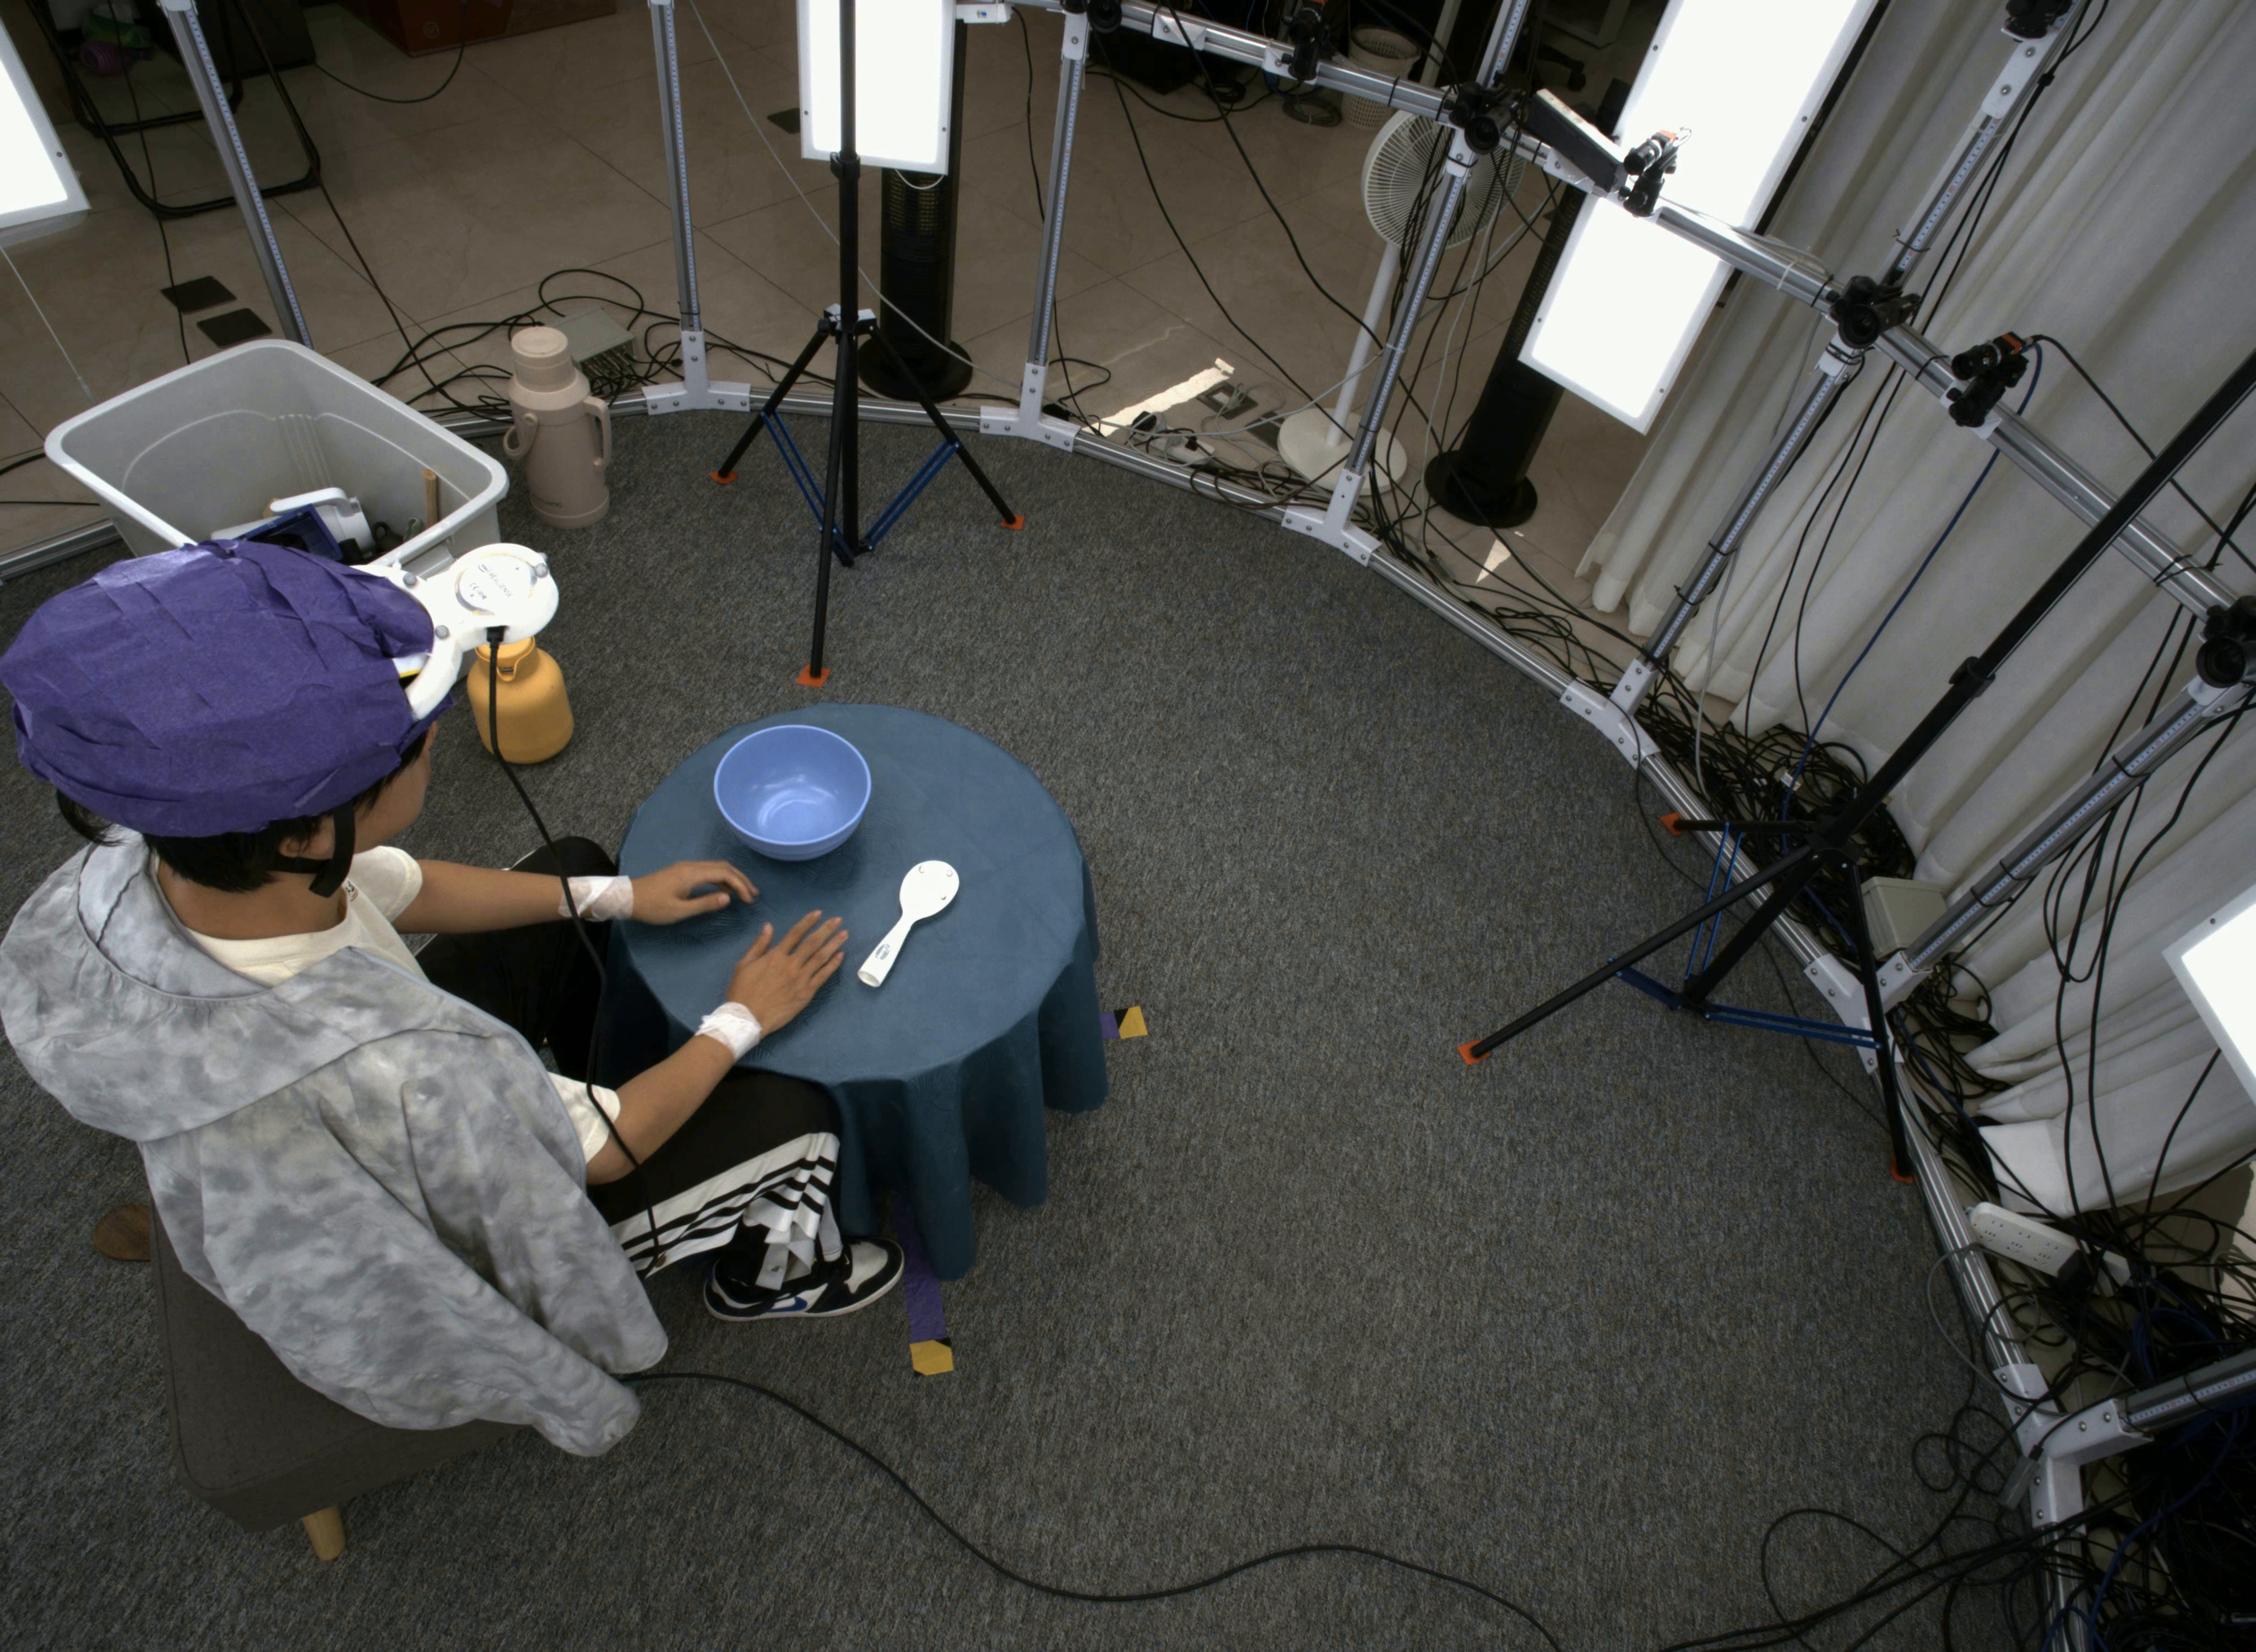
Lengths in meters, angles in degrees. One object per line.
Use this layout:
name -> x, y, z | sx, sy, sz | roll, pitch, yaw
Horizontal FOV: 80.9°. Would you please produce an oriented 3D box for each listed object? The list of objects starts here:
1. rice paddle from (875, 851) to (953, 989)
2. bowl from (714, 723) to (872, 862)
rice paddle -> -0.277, 0.111, 1.667 | 0.067, 0.030, 0.203 | 9, 55, 10
bowl -> -0.433, -0.029, 1.683 | 0.196, 0.097, 0.193 | 8, 52, -9
